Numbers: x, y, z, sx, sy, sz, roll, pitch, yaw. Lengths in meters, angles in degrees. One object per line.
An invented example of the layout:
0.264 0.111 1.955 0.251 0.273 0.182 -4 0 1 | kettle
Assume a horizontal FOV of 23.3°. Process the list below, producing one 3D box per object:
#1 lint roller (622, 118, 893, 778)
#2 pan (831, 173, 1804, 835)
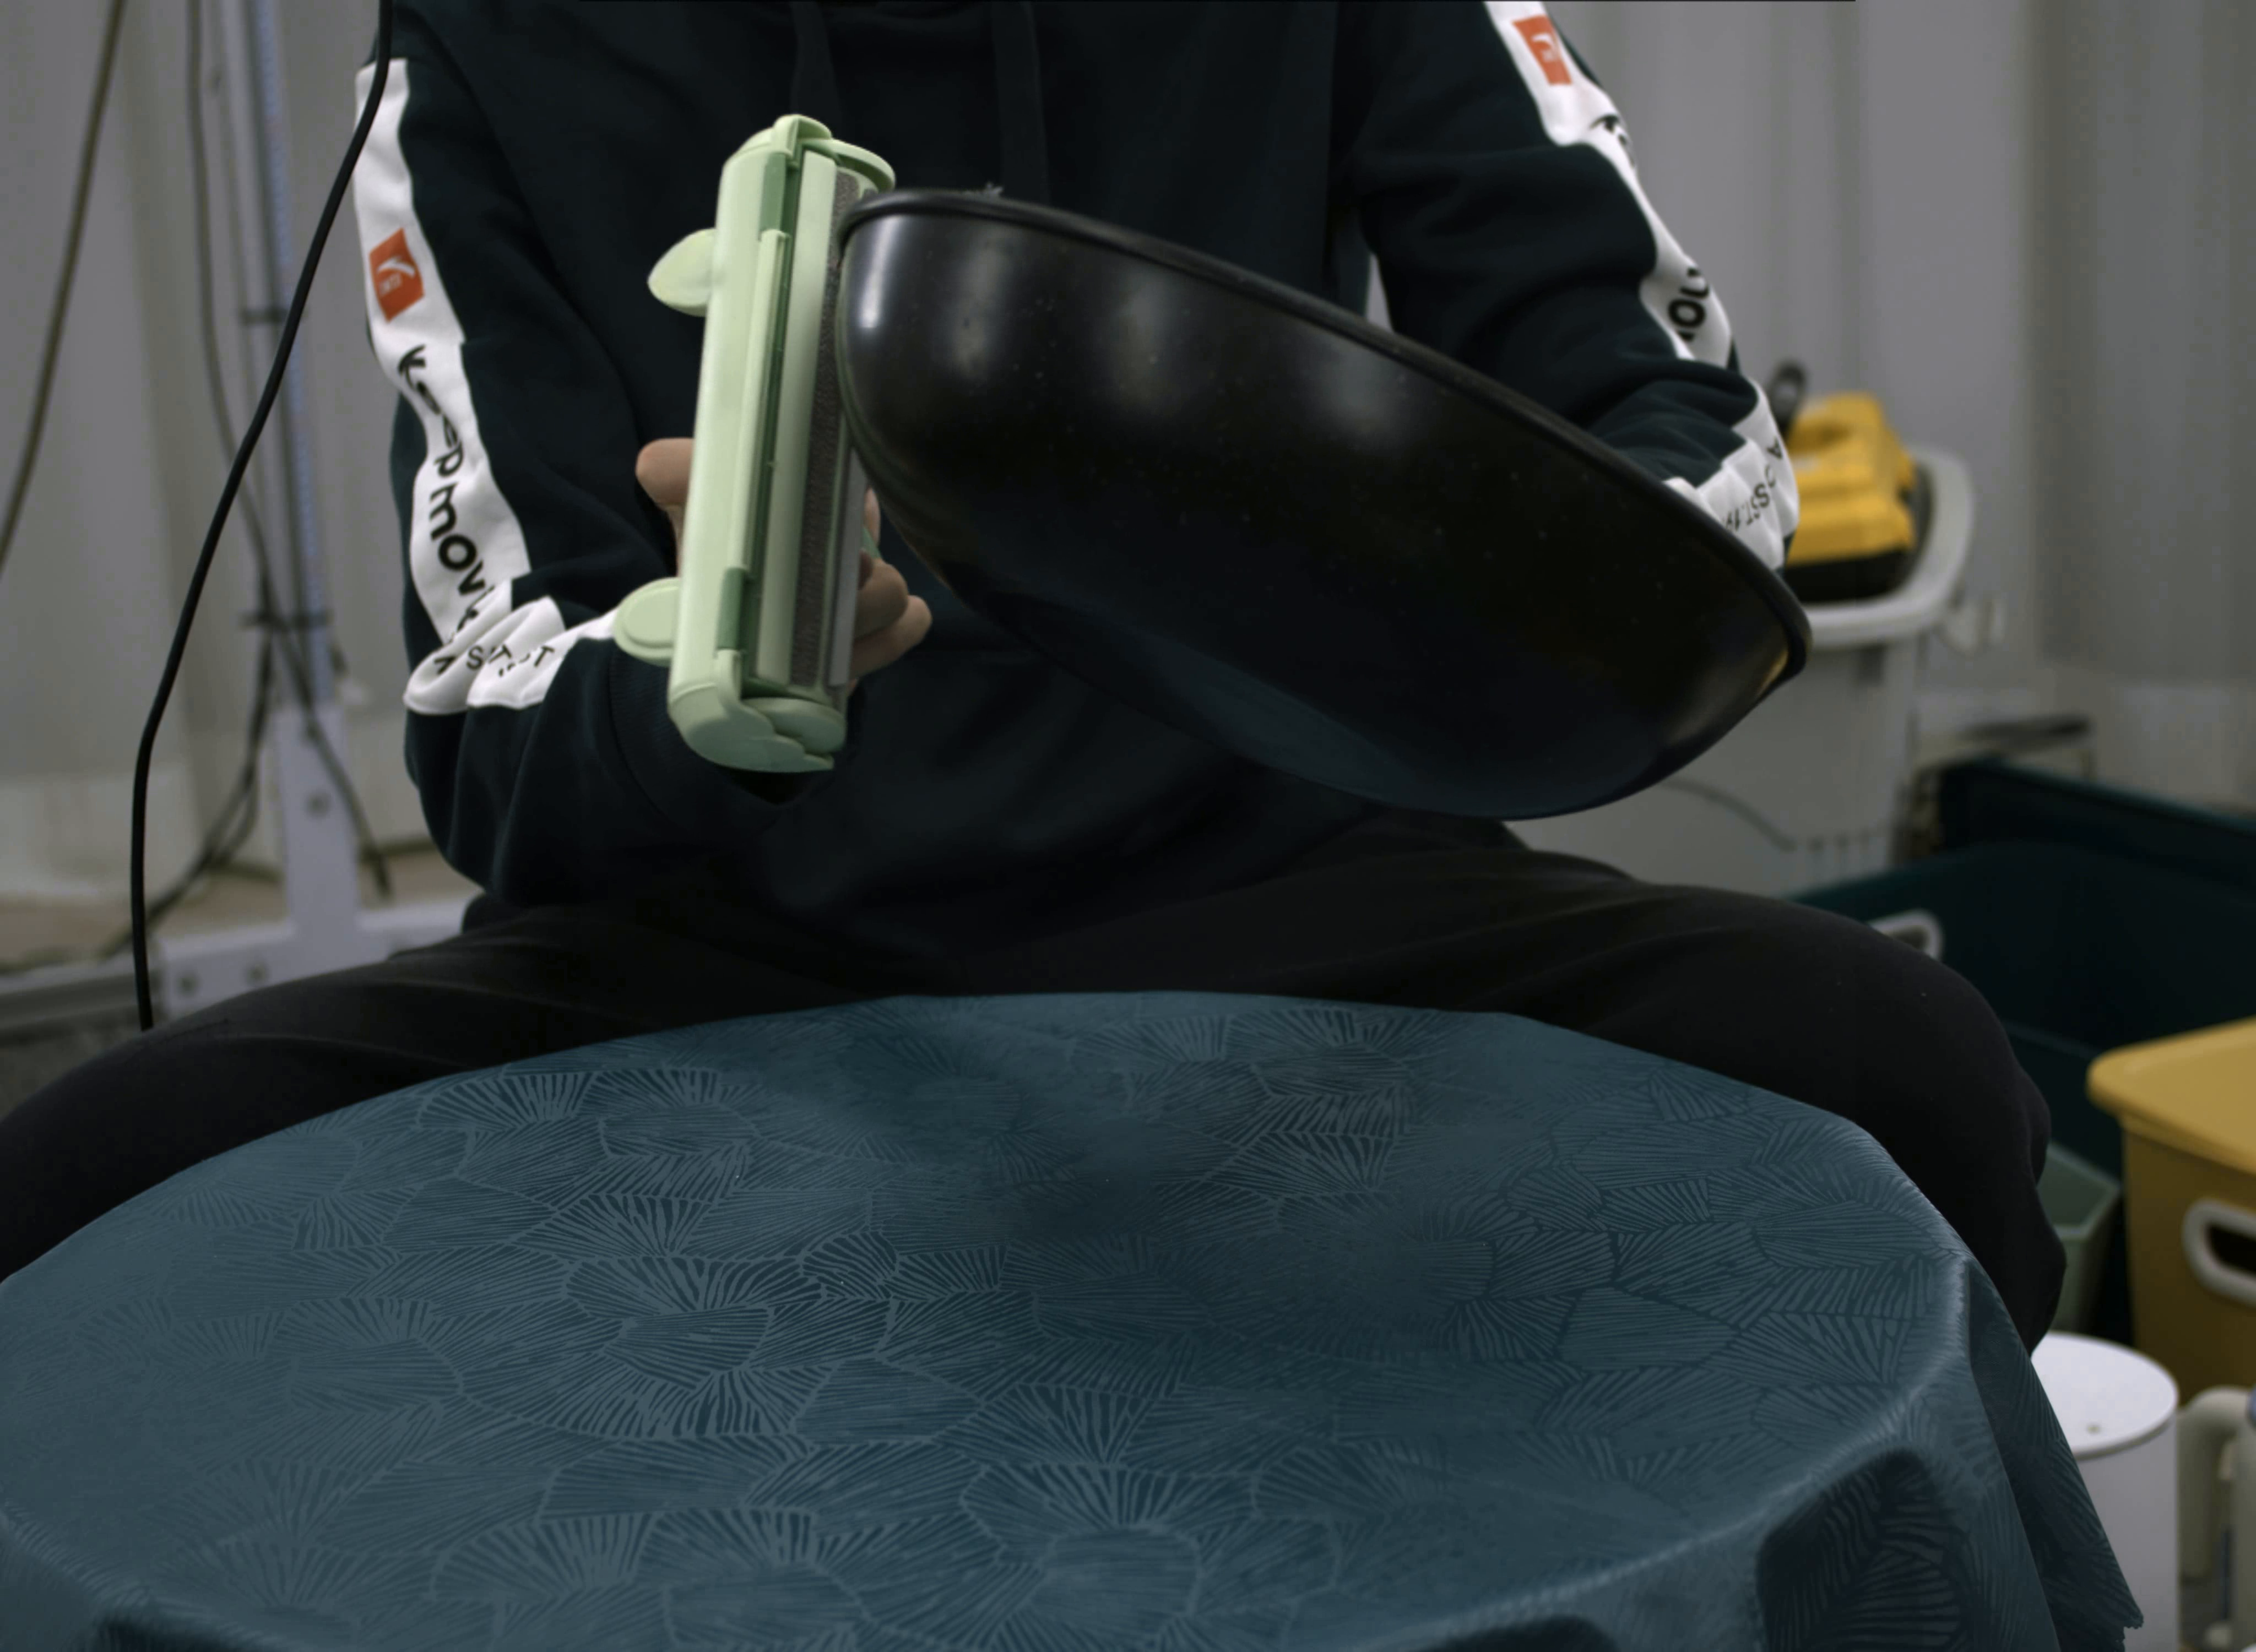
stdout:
-0.114 -0.097 1.713 0.082 0.201 0.182 5 -20 -4 | lint roller
0.065 -0.063 1.655 0.311 0.112 0.472 24 -8 21 | pan
